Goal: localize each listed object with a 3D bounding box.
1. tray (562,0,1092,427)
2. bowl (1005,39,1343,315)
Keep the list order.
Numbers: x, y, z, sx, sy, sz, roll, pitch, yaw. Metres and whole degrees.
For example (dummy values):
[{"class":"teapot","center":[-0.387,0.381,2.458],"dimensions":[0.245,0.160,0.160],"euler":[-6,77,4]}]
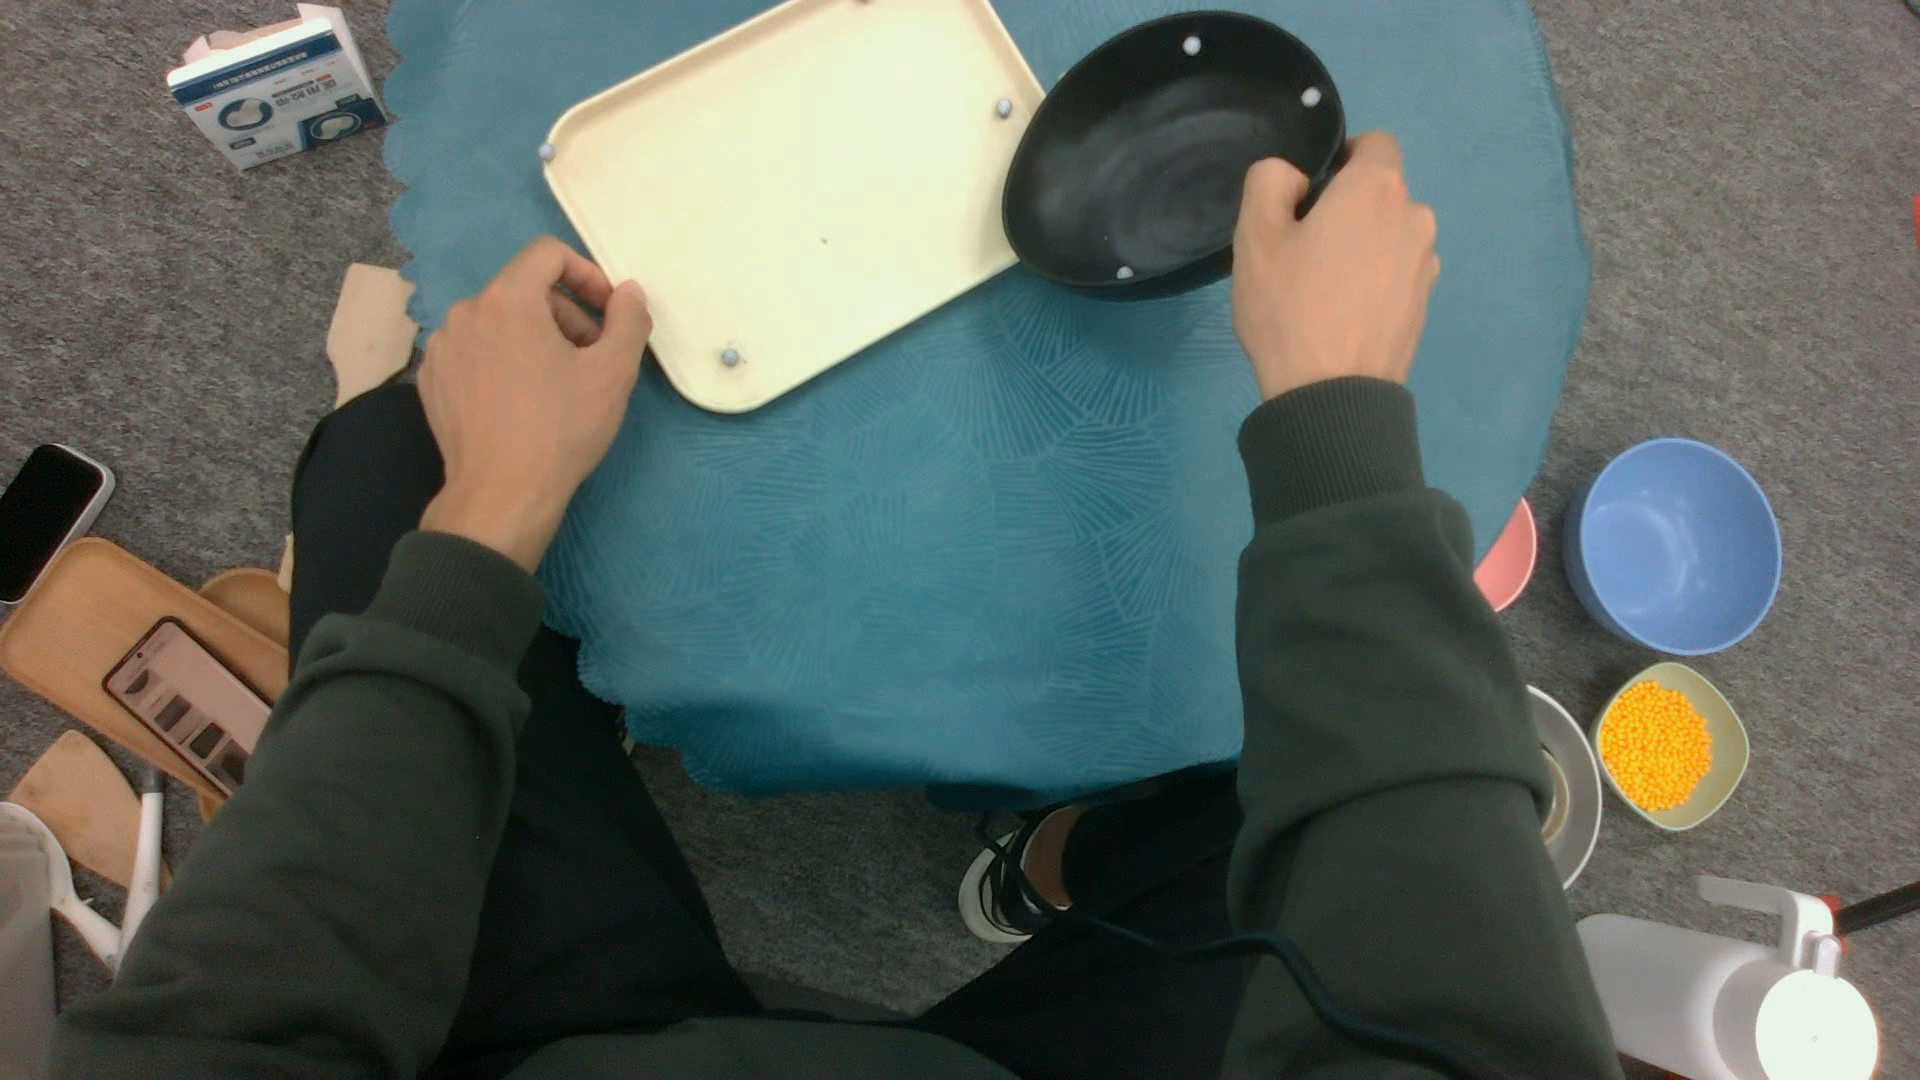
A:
[{"class":"tray","center":[-0.064,-0.176,0.703],"dimensions":[0.240,0.017,0.171],"euler":[-32,87,-11]},{"class":"bowl","center":[0.107,-0.166,0.665],"dimensions":[0.170,0.067,0.137],"euler":[-3,72,34]}]
